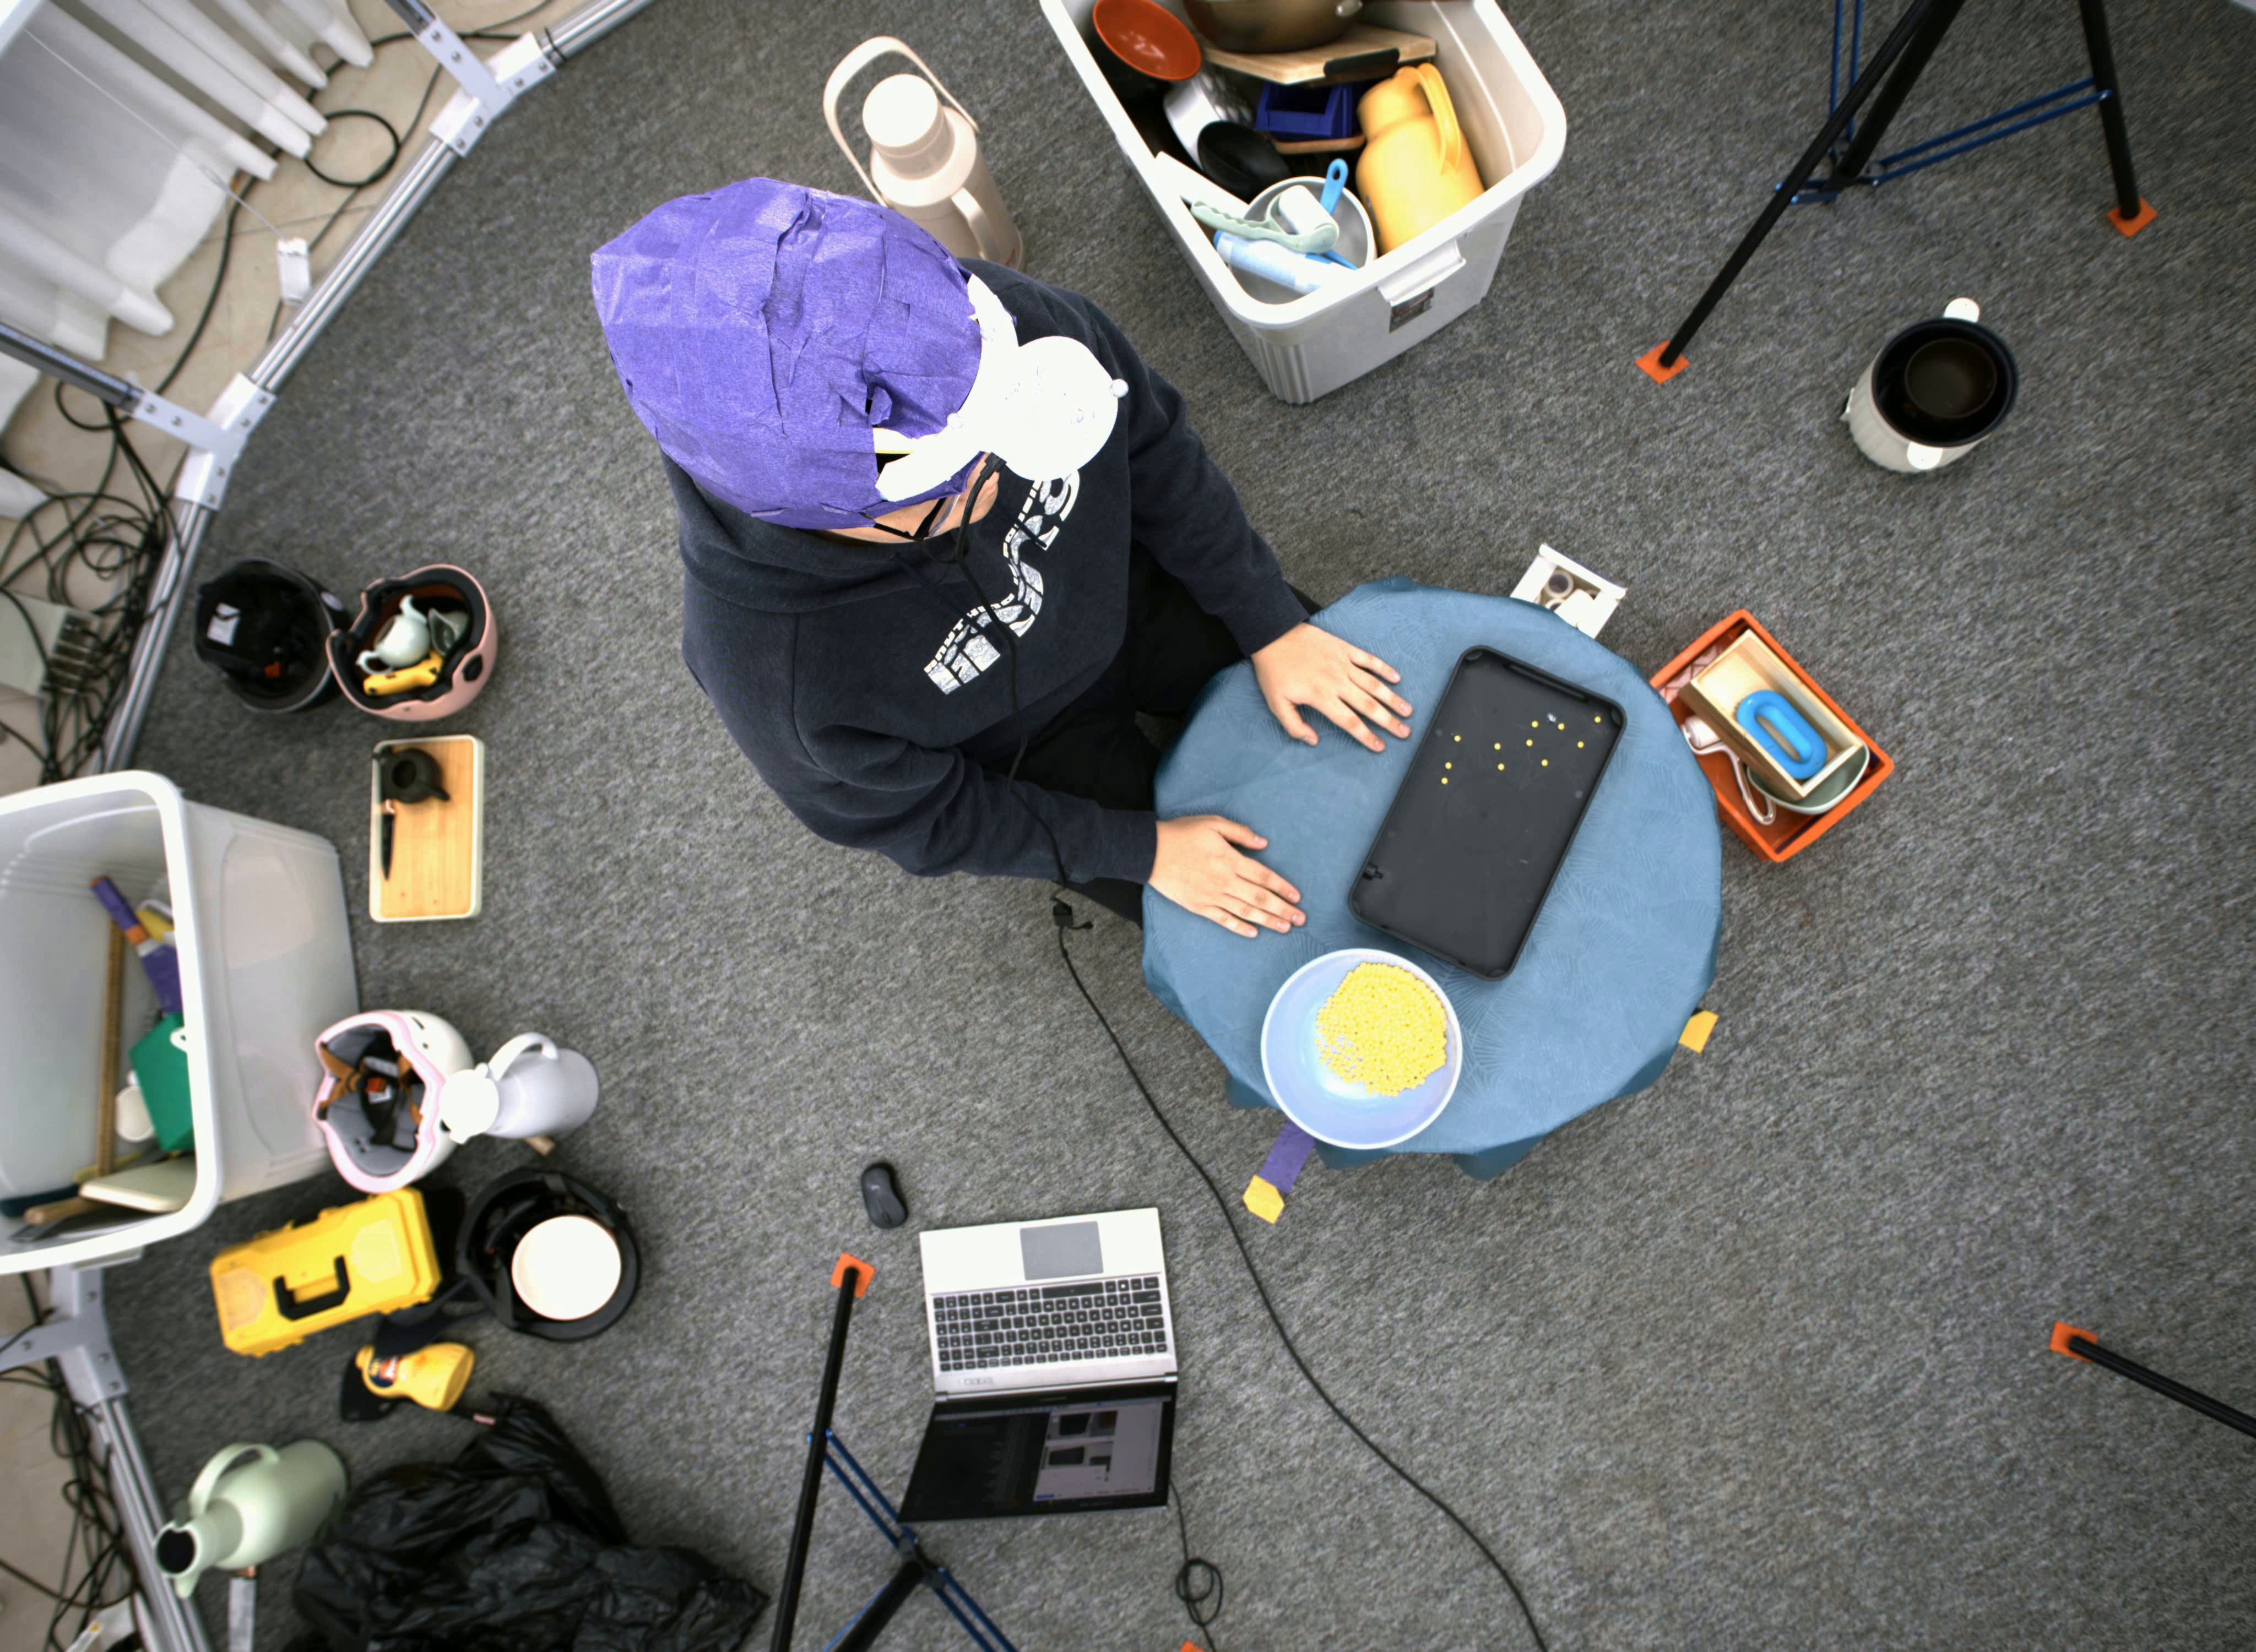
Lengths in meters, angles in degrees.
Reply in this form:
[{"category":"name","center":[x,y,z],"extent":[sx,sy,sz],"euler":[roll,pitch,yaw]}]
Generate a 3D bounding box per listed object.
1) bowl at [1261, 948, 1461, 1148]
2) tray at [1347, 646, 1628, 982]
[{"category":"bowl","center":[0.237,0.222,1.410],"extent":[0.197,0.095,0.195],"euler":[-1,87,11]},{"category":"tray","center":[0.371,-0.015,1.427],"extent":[0.184,0.037,0.318],"euler":[26,91,12]}]
